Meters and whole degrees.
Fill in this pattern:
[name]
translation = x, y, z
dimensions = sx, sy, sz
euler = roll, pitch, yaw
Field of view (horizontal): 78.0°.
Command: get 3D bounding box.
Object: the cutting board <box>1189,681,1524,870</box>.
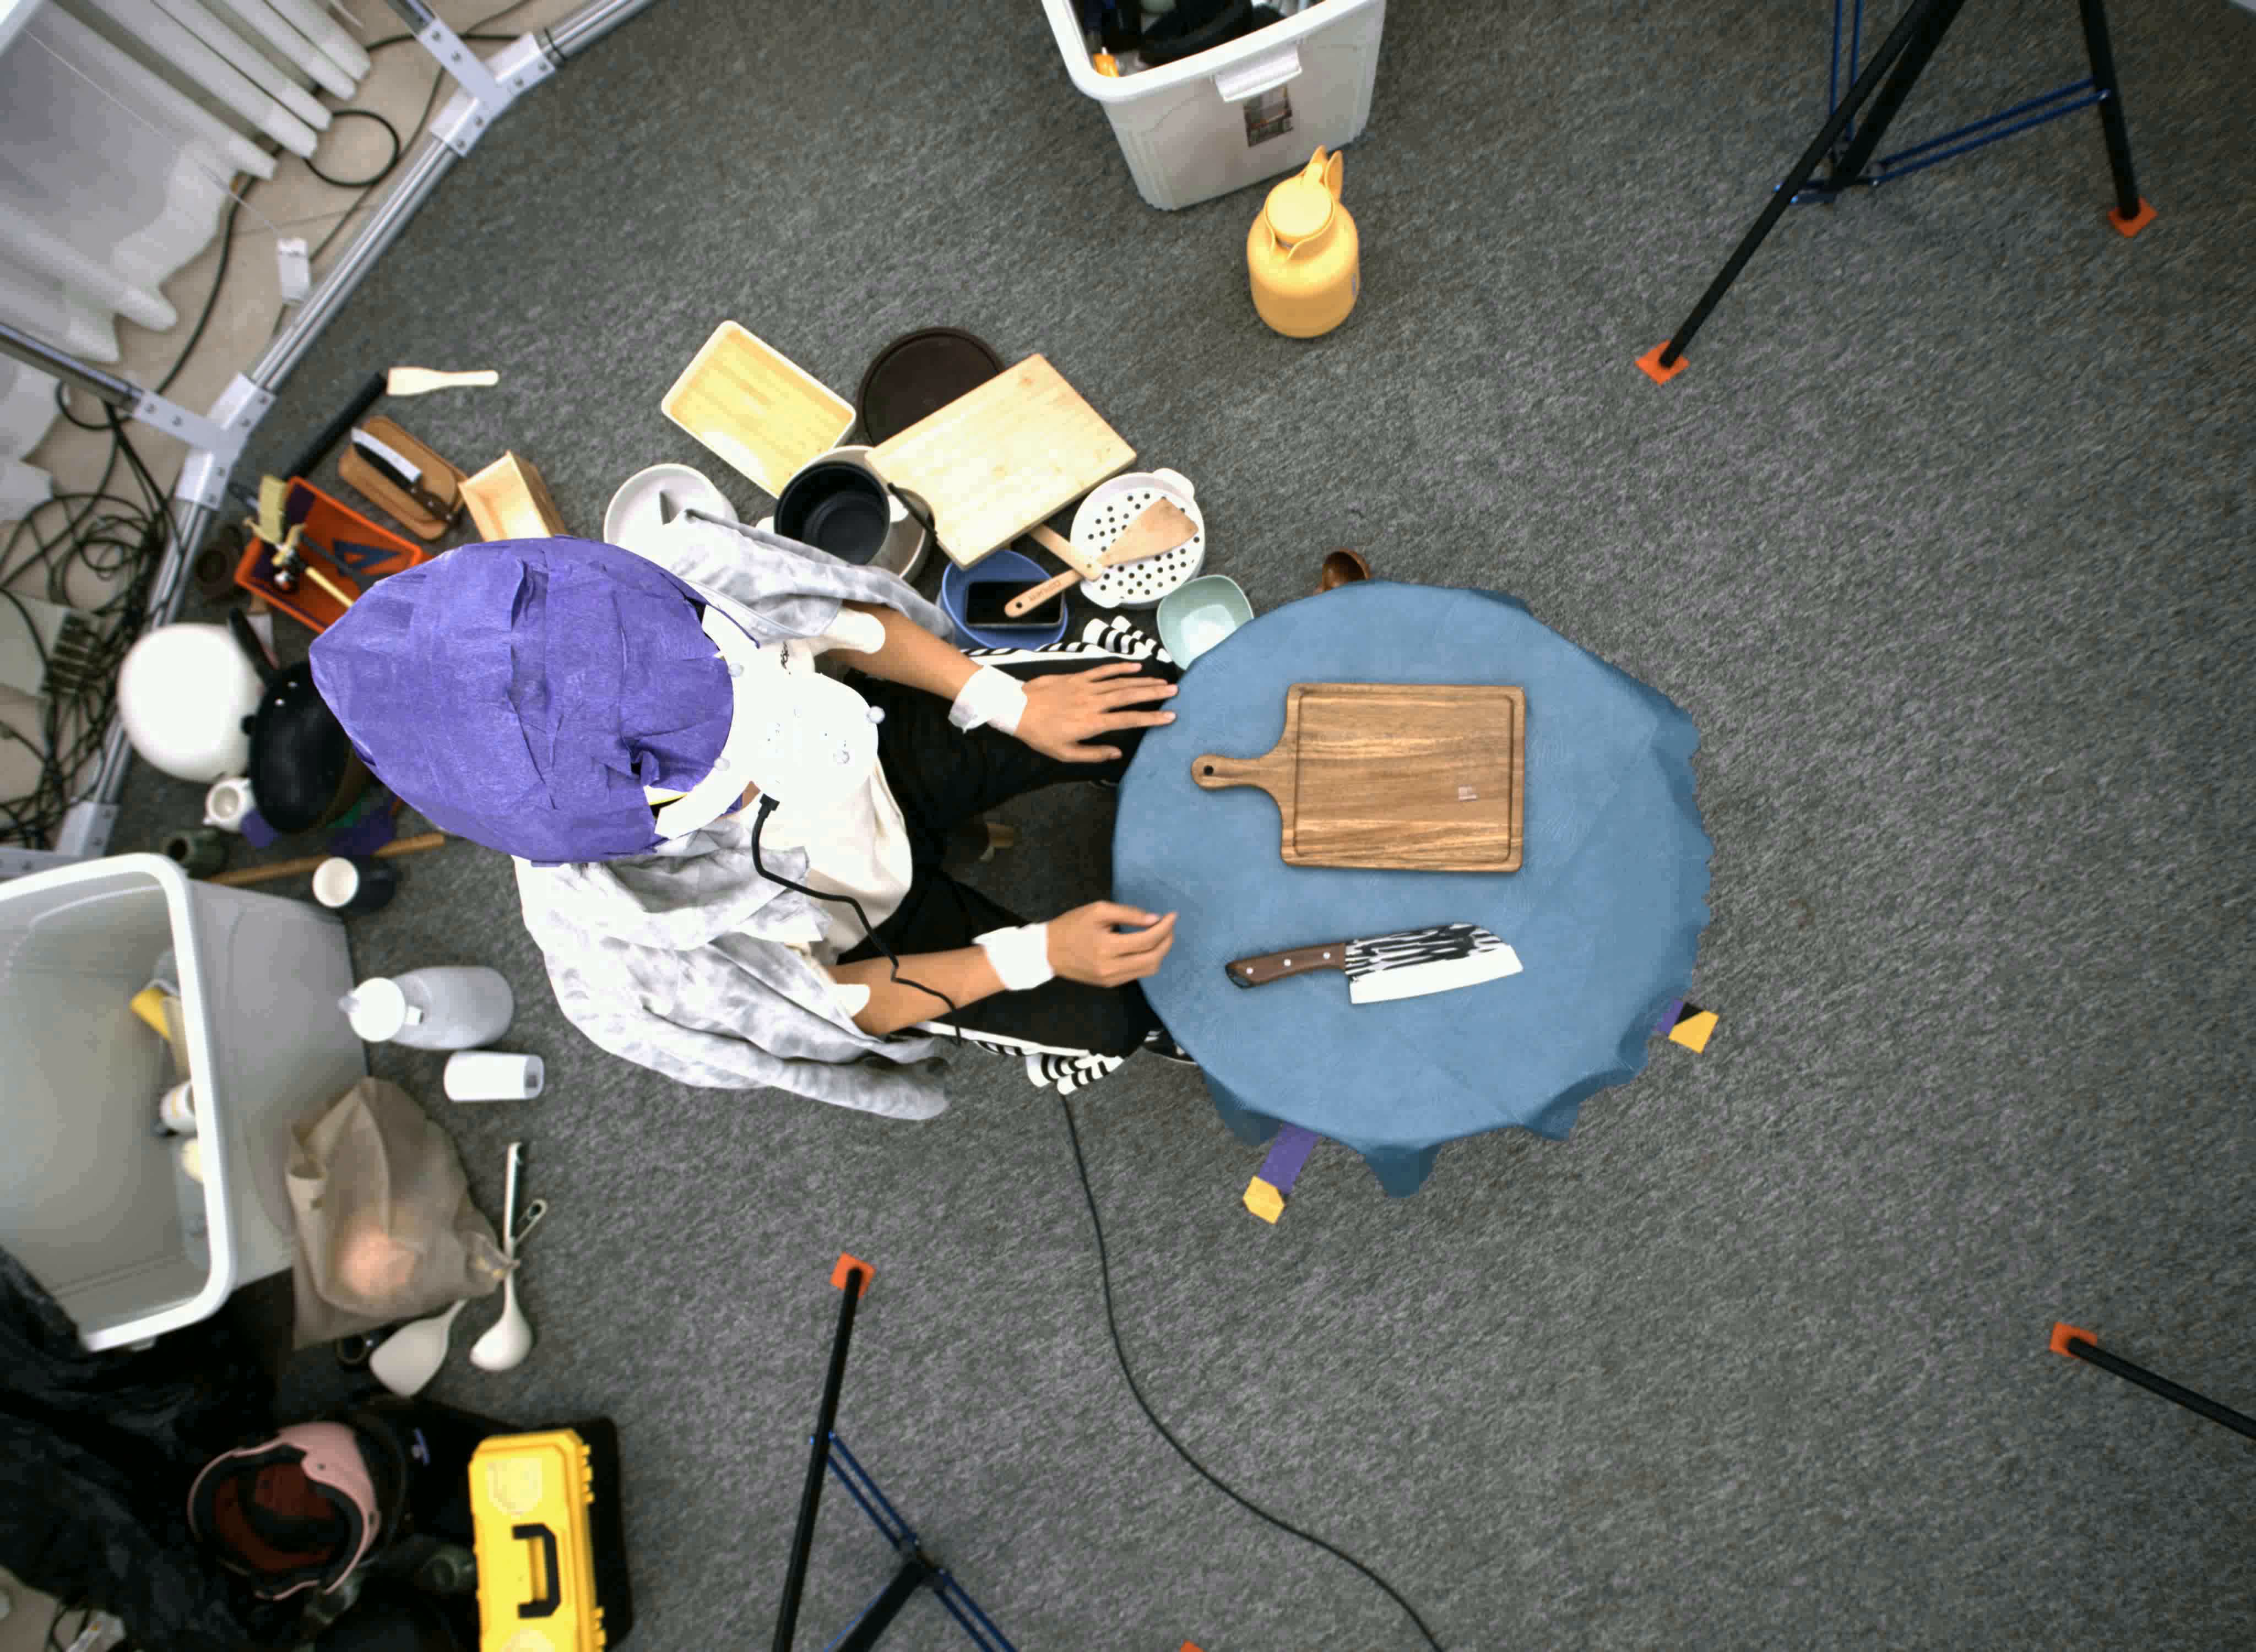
[cutting board]
translation = 0.240, -0.056, 1.463
dimensions = 0.353, 0.023, 0.200
euler = 1, 89, 12

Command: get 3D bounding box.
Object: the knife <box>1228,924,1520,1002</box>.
[knife]
translation = 0.256, 0.146, 1.447
dimensions = 0.301, 0.024, 0.068
euler = -8, 87, 7
